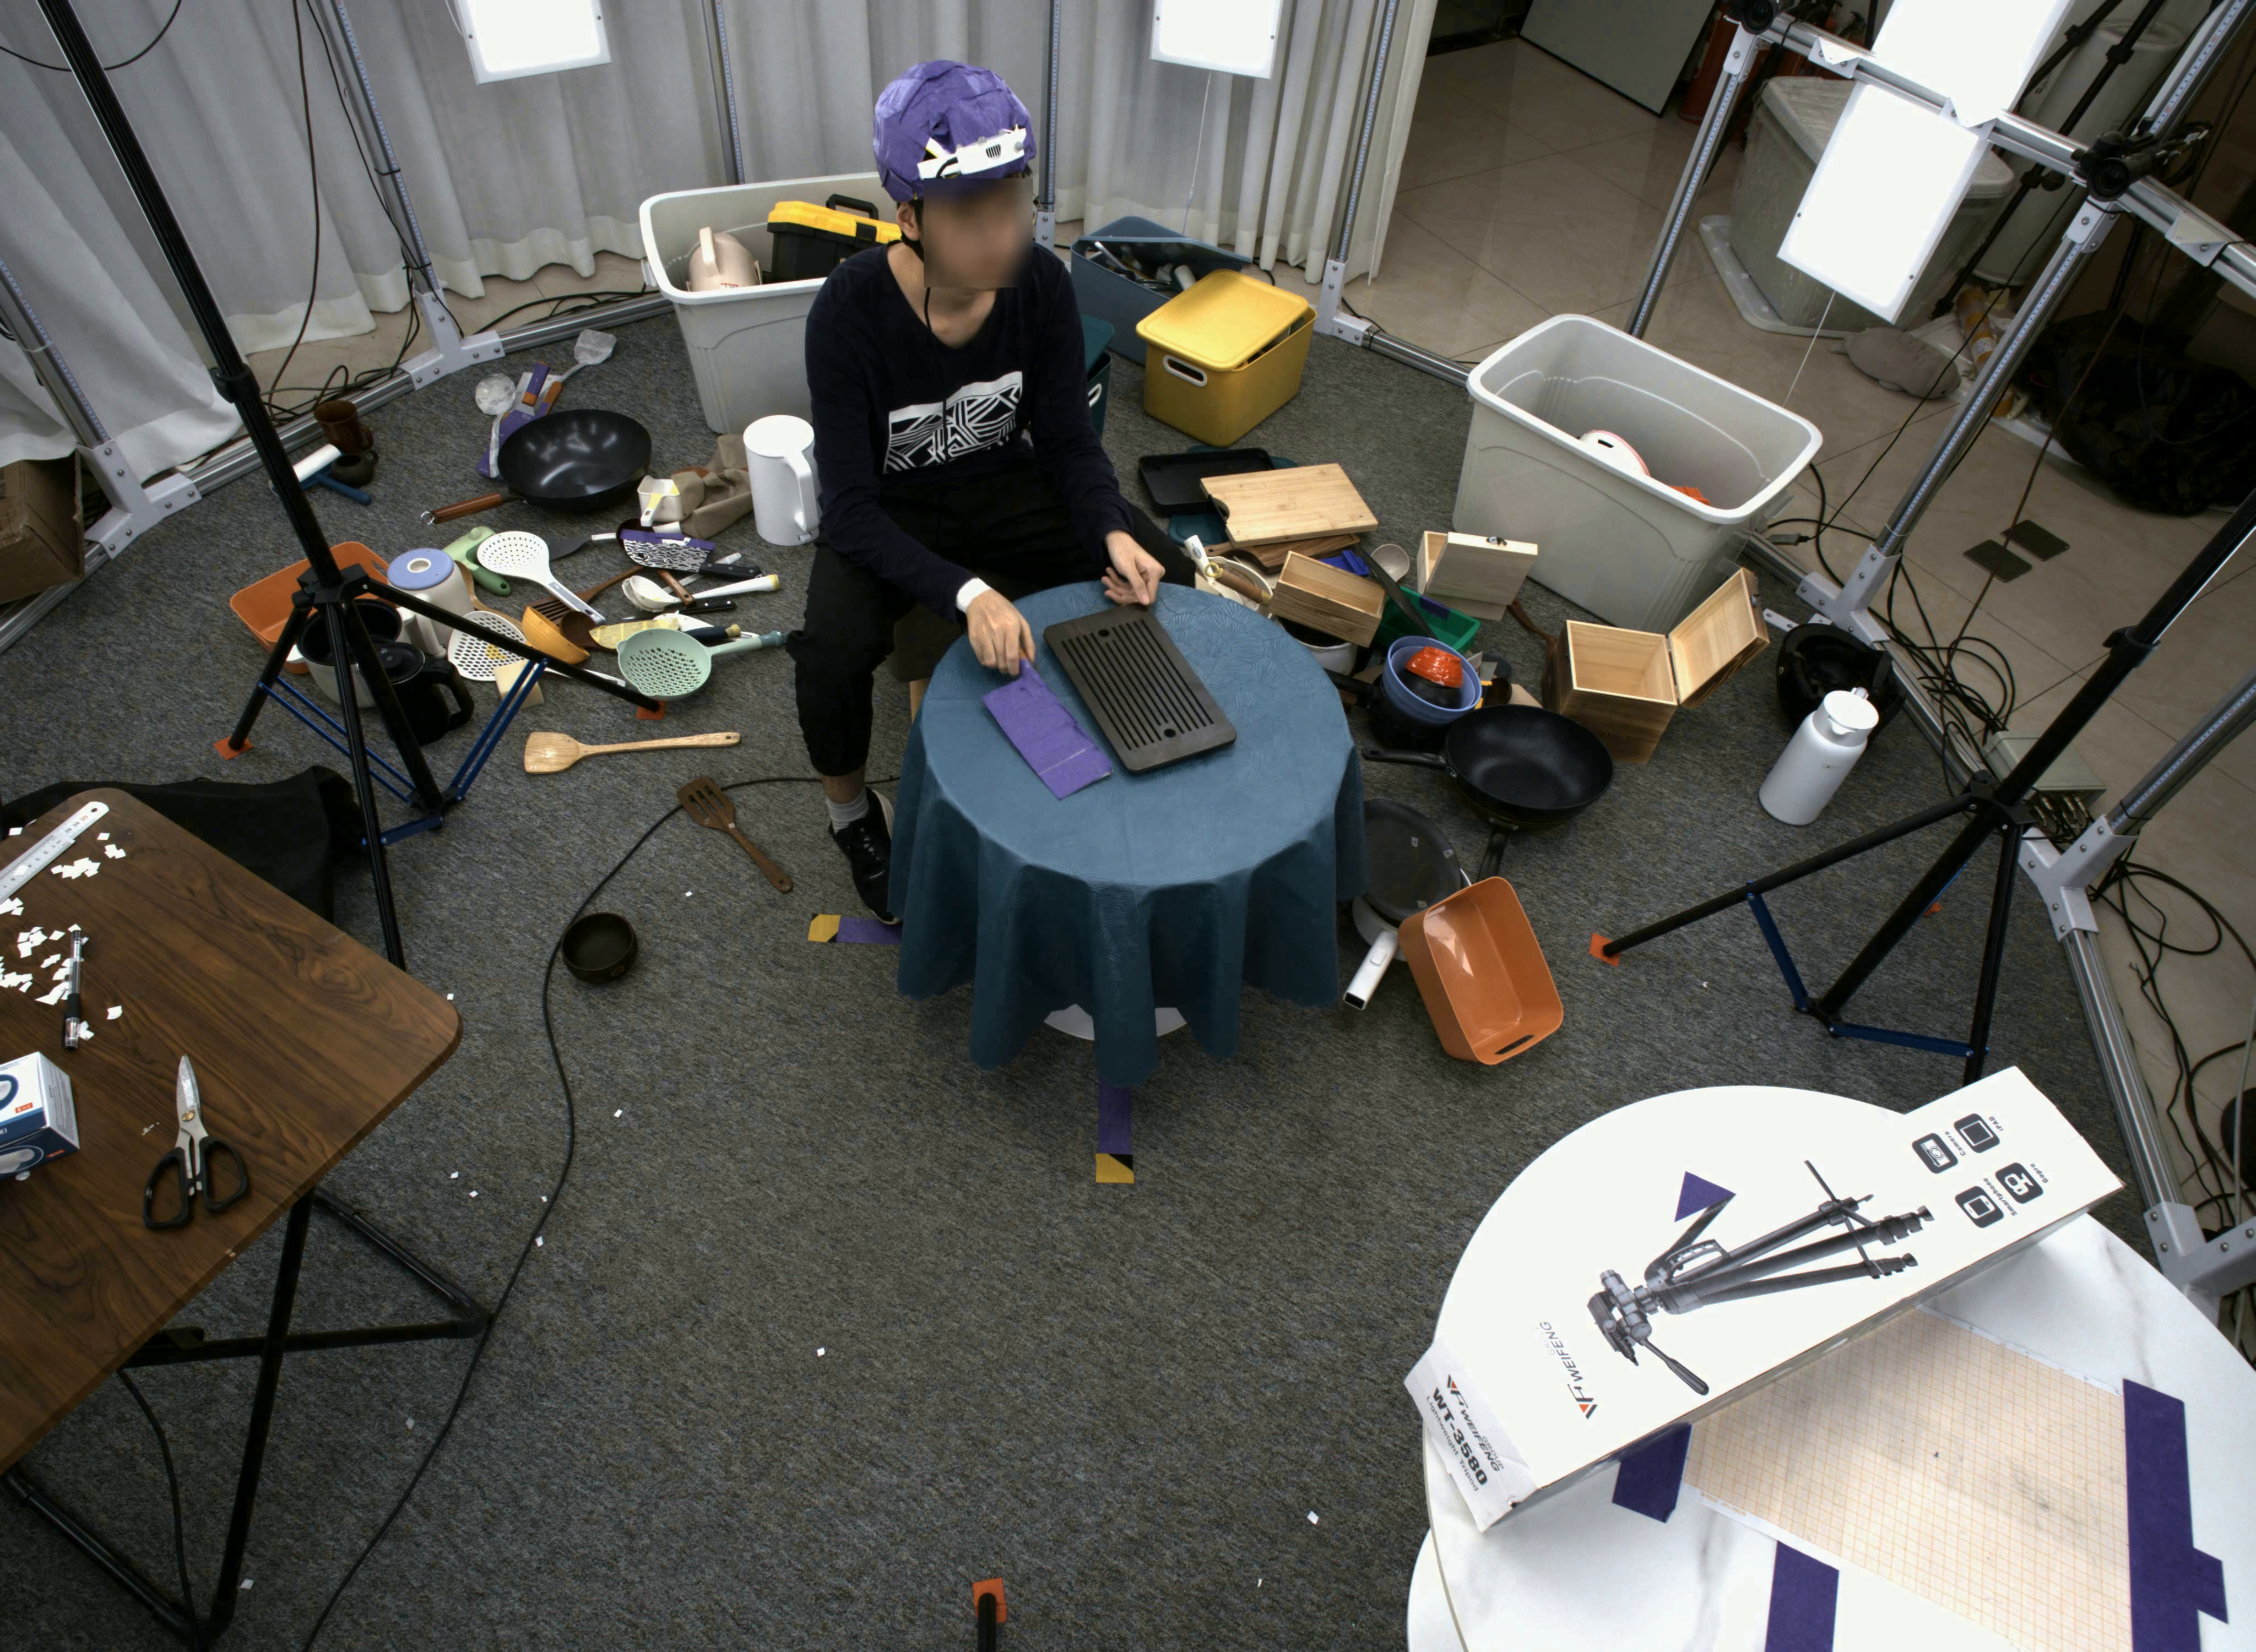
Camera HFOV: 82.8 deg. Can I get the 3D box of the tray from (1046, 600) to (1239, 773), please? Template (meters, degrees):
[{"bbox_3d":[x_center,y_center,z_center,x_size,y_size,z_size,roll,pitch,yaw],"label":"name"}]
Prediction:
[{"bbox_3d":[0.017,-0.203,1.829,0.170,0.018,0.313,-18,53,-17],"label":"tray"}]

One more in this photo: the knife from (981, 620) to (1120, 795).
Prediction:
[{"bbox_3d":[-0.138,-0.168,1.776,0.104,0.031,0.321,-29,58,-16],"label":"knife"}]
